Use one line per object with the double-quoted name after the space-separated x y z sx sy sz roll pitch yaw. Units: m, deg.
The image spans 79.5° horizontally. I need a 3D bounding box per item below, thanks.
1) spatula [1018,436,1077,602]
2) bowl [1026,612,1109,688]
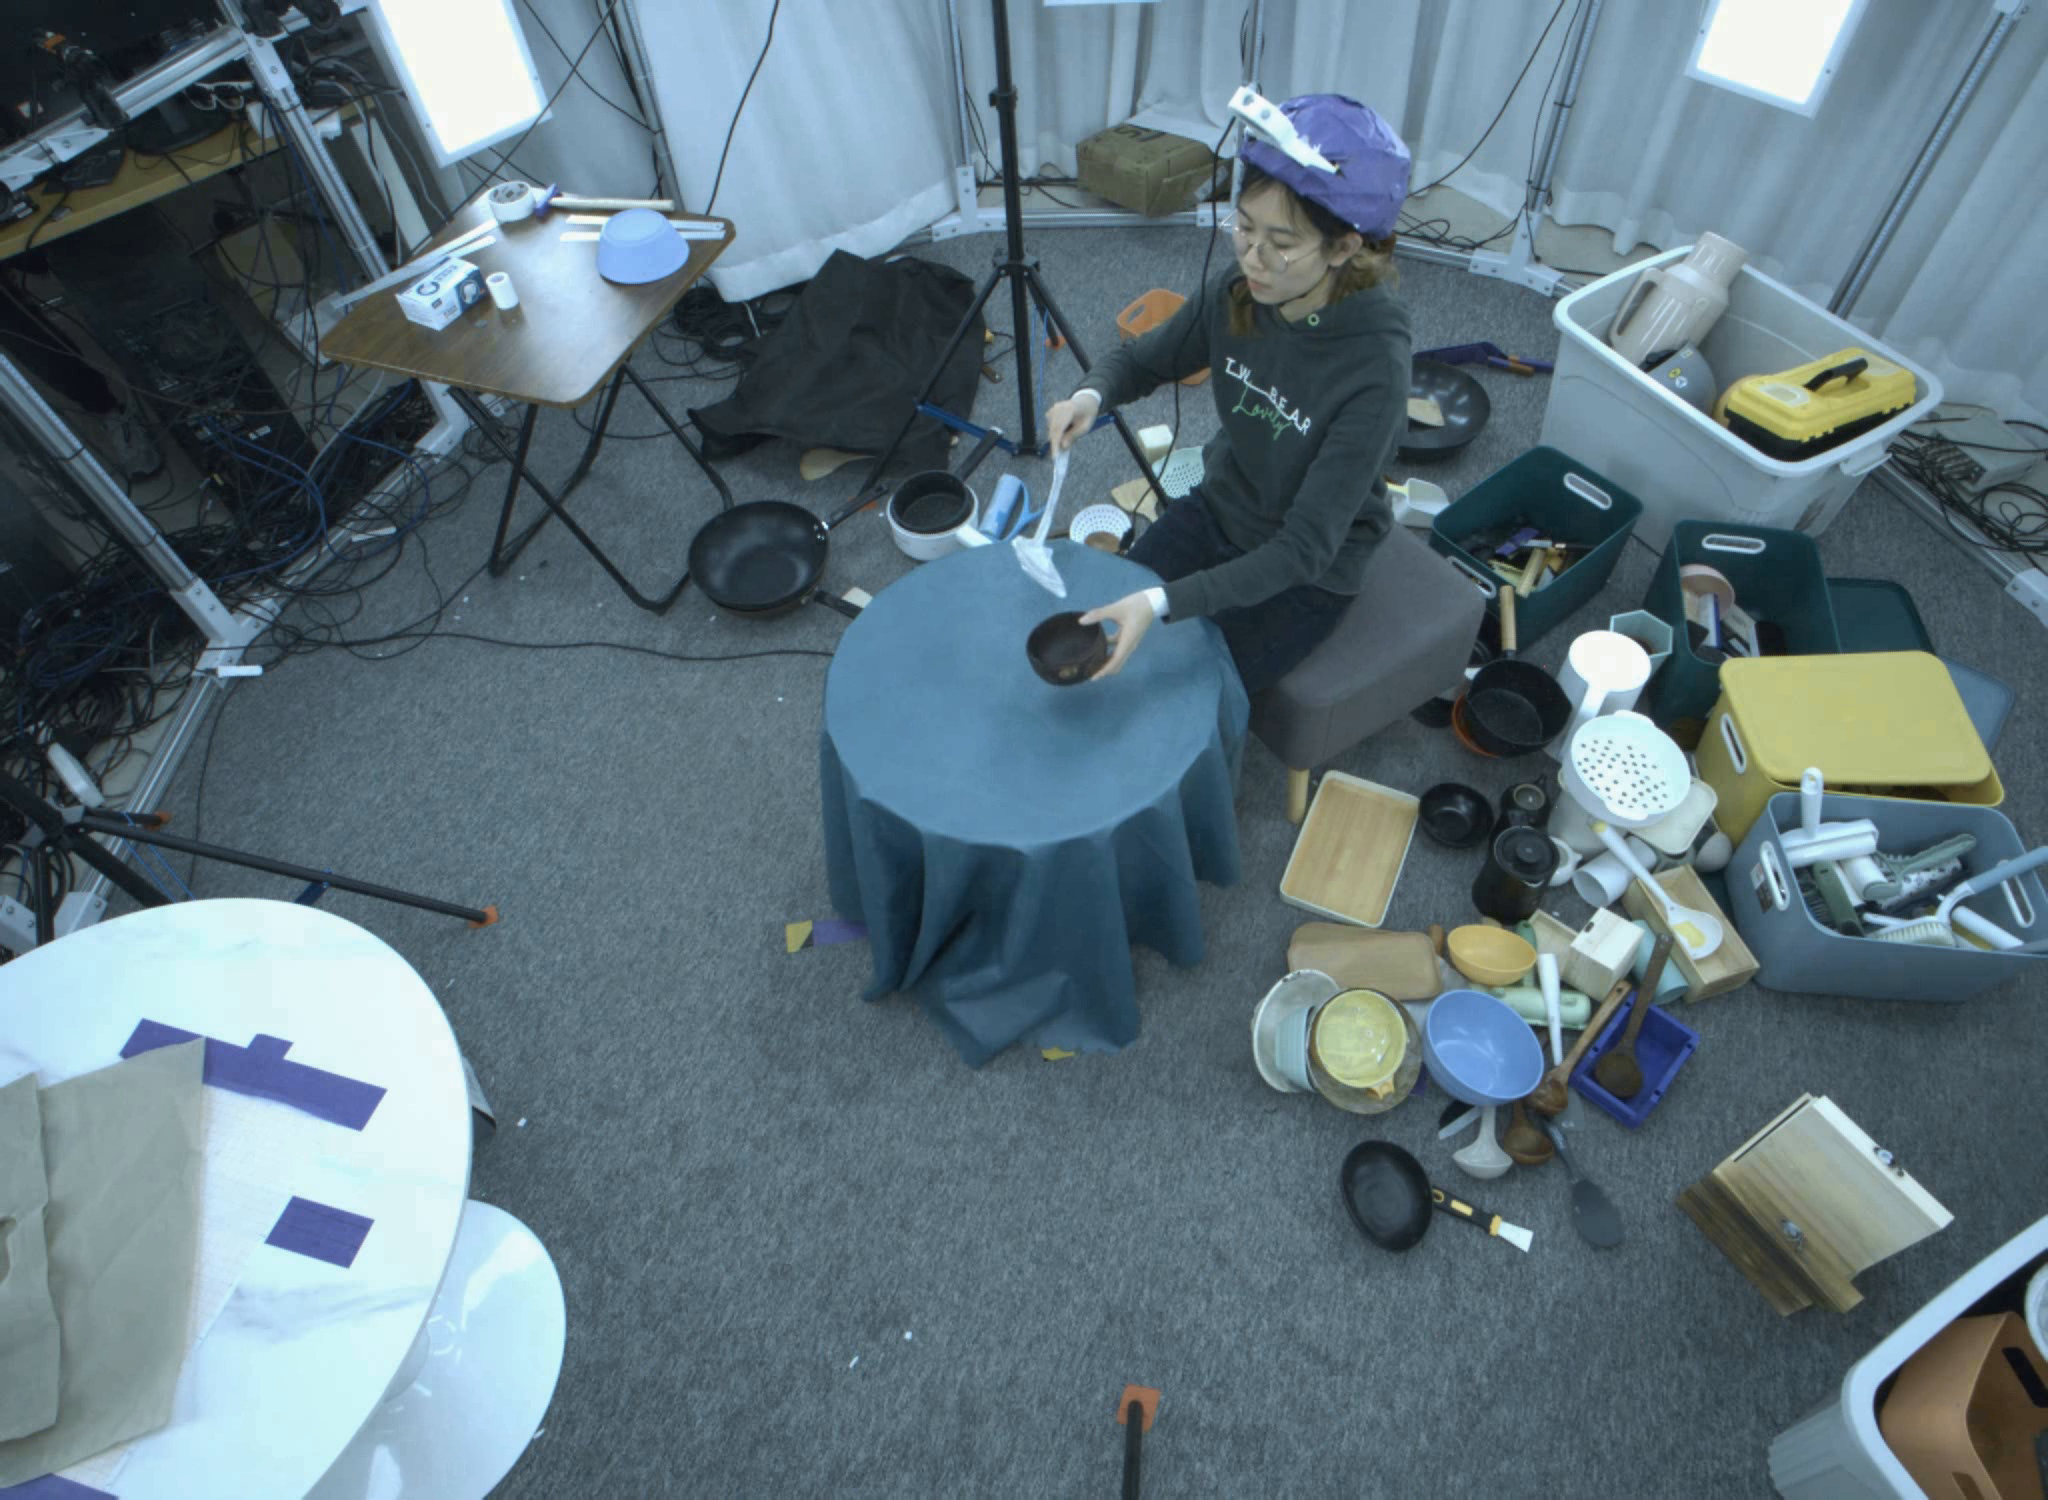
0.049 -0.359 1.790 0.044 0.101 0.363 -24 41 41 "spatula"
0.067 -0.136 1.776 0.117 0.071 0.117 -9 46 11 "bowl"
